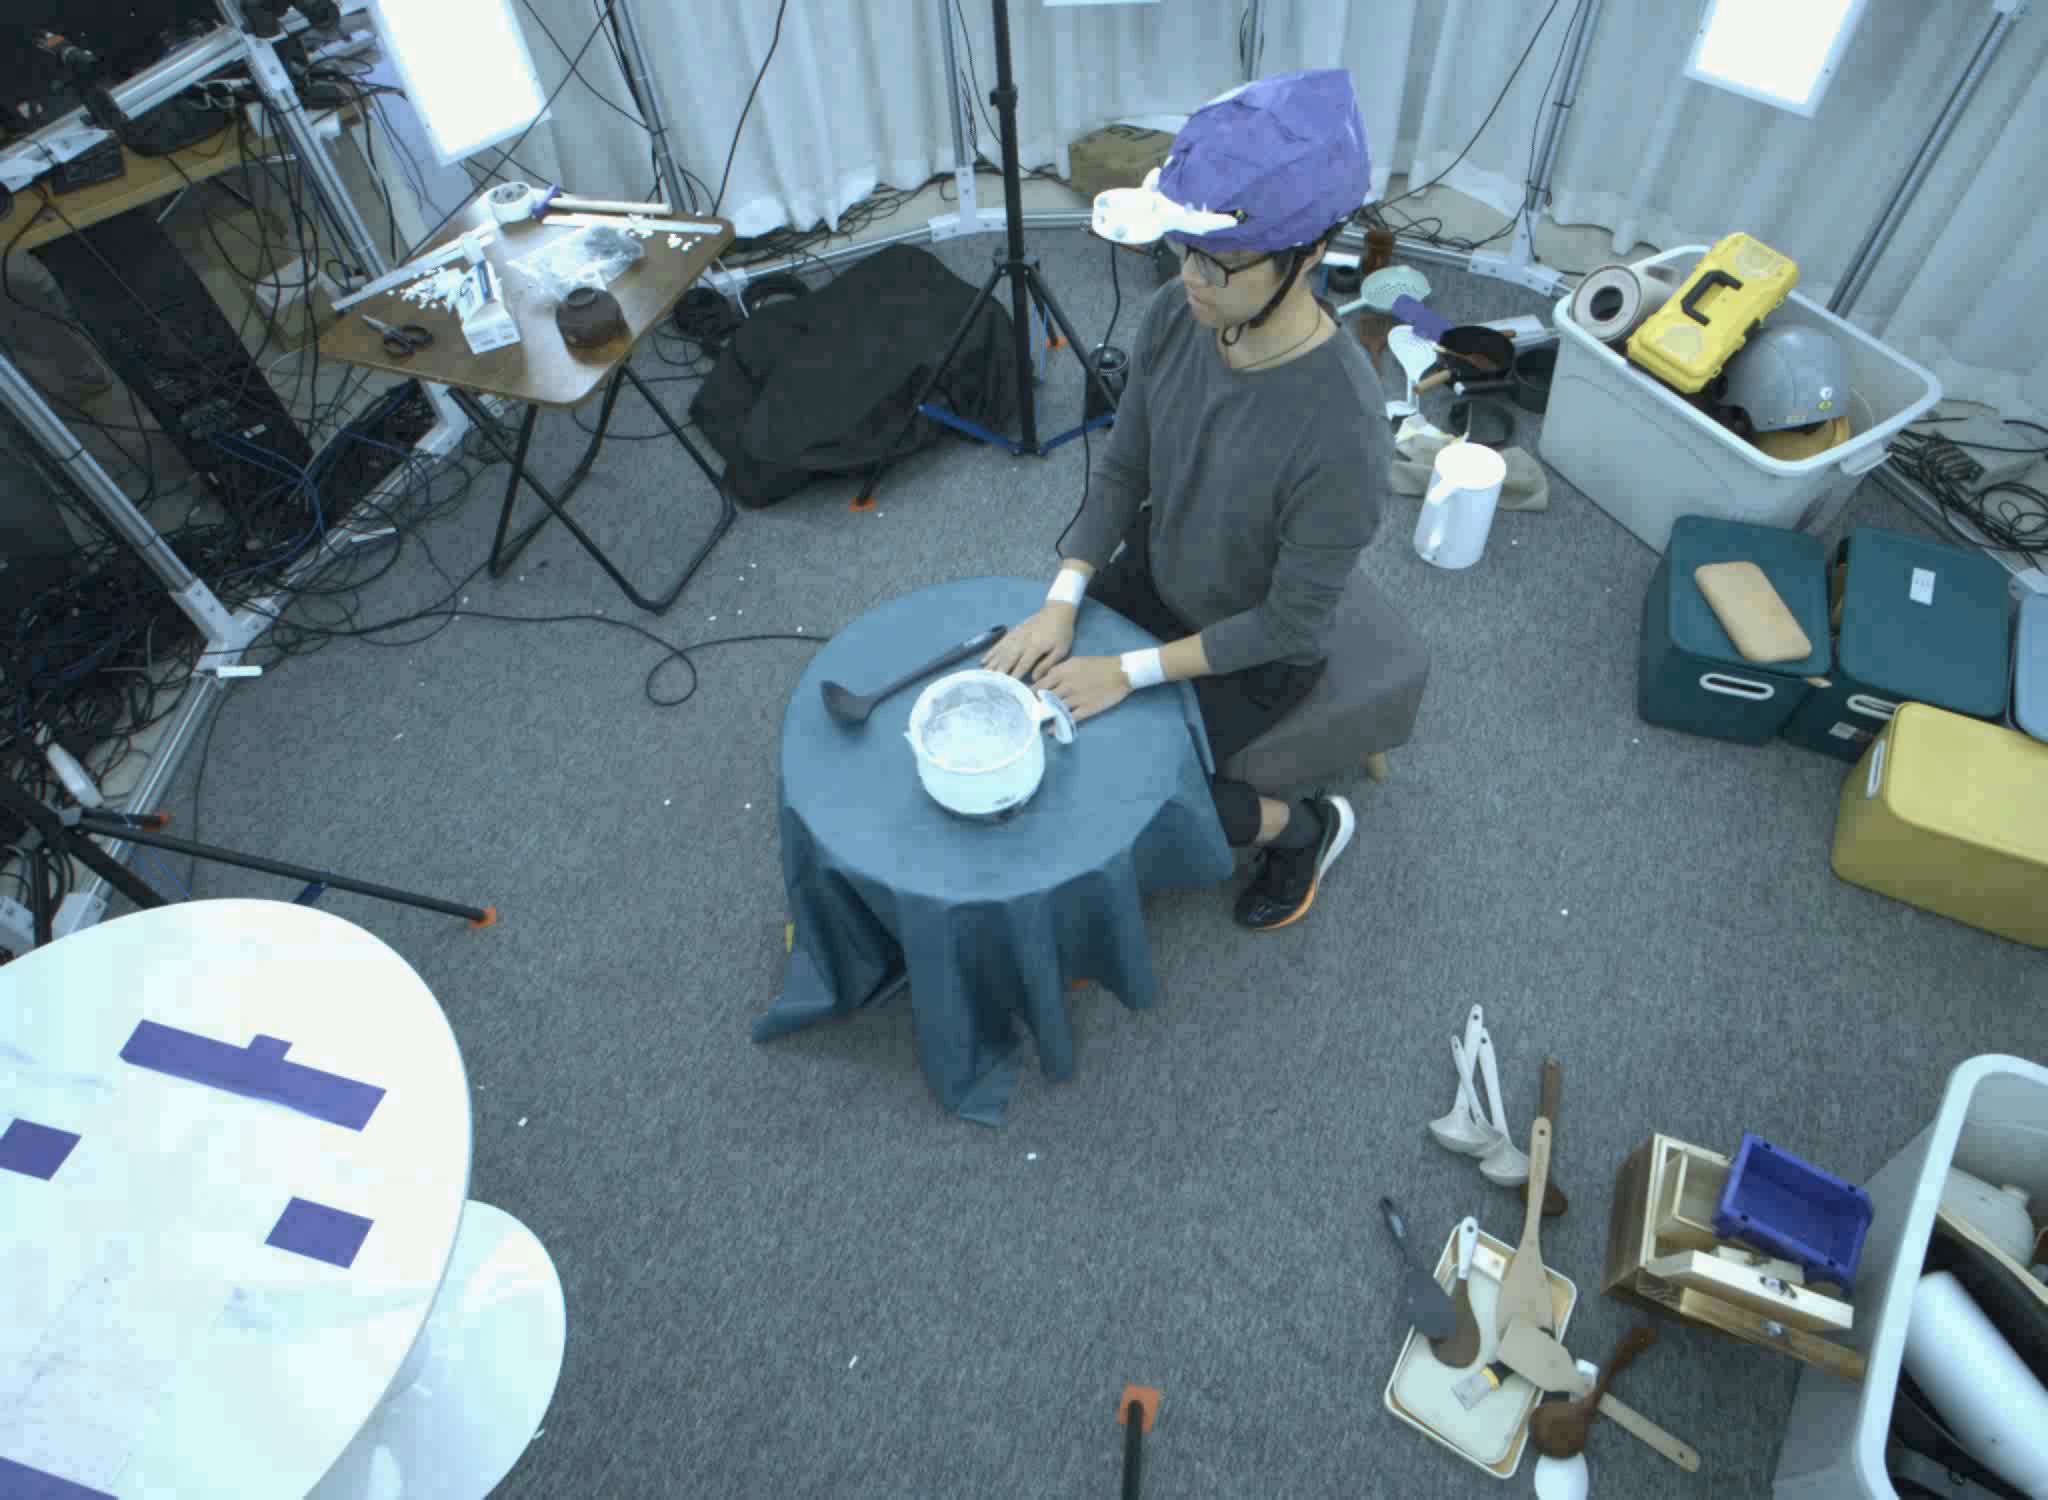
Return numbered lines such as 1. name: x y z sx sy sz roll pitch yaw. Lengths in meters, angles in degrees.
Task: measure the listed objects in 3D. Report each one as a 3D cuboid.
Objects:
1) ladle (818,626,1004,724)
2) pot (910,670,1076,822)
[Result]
1. ladle: -0.164 -0.129 1.853 0.316 0.064 0.085 -29 63 -18
2. pot: -0.037 -0.014 1.722 0.235 0.138 0.175 -22 57 -14
